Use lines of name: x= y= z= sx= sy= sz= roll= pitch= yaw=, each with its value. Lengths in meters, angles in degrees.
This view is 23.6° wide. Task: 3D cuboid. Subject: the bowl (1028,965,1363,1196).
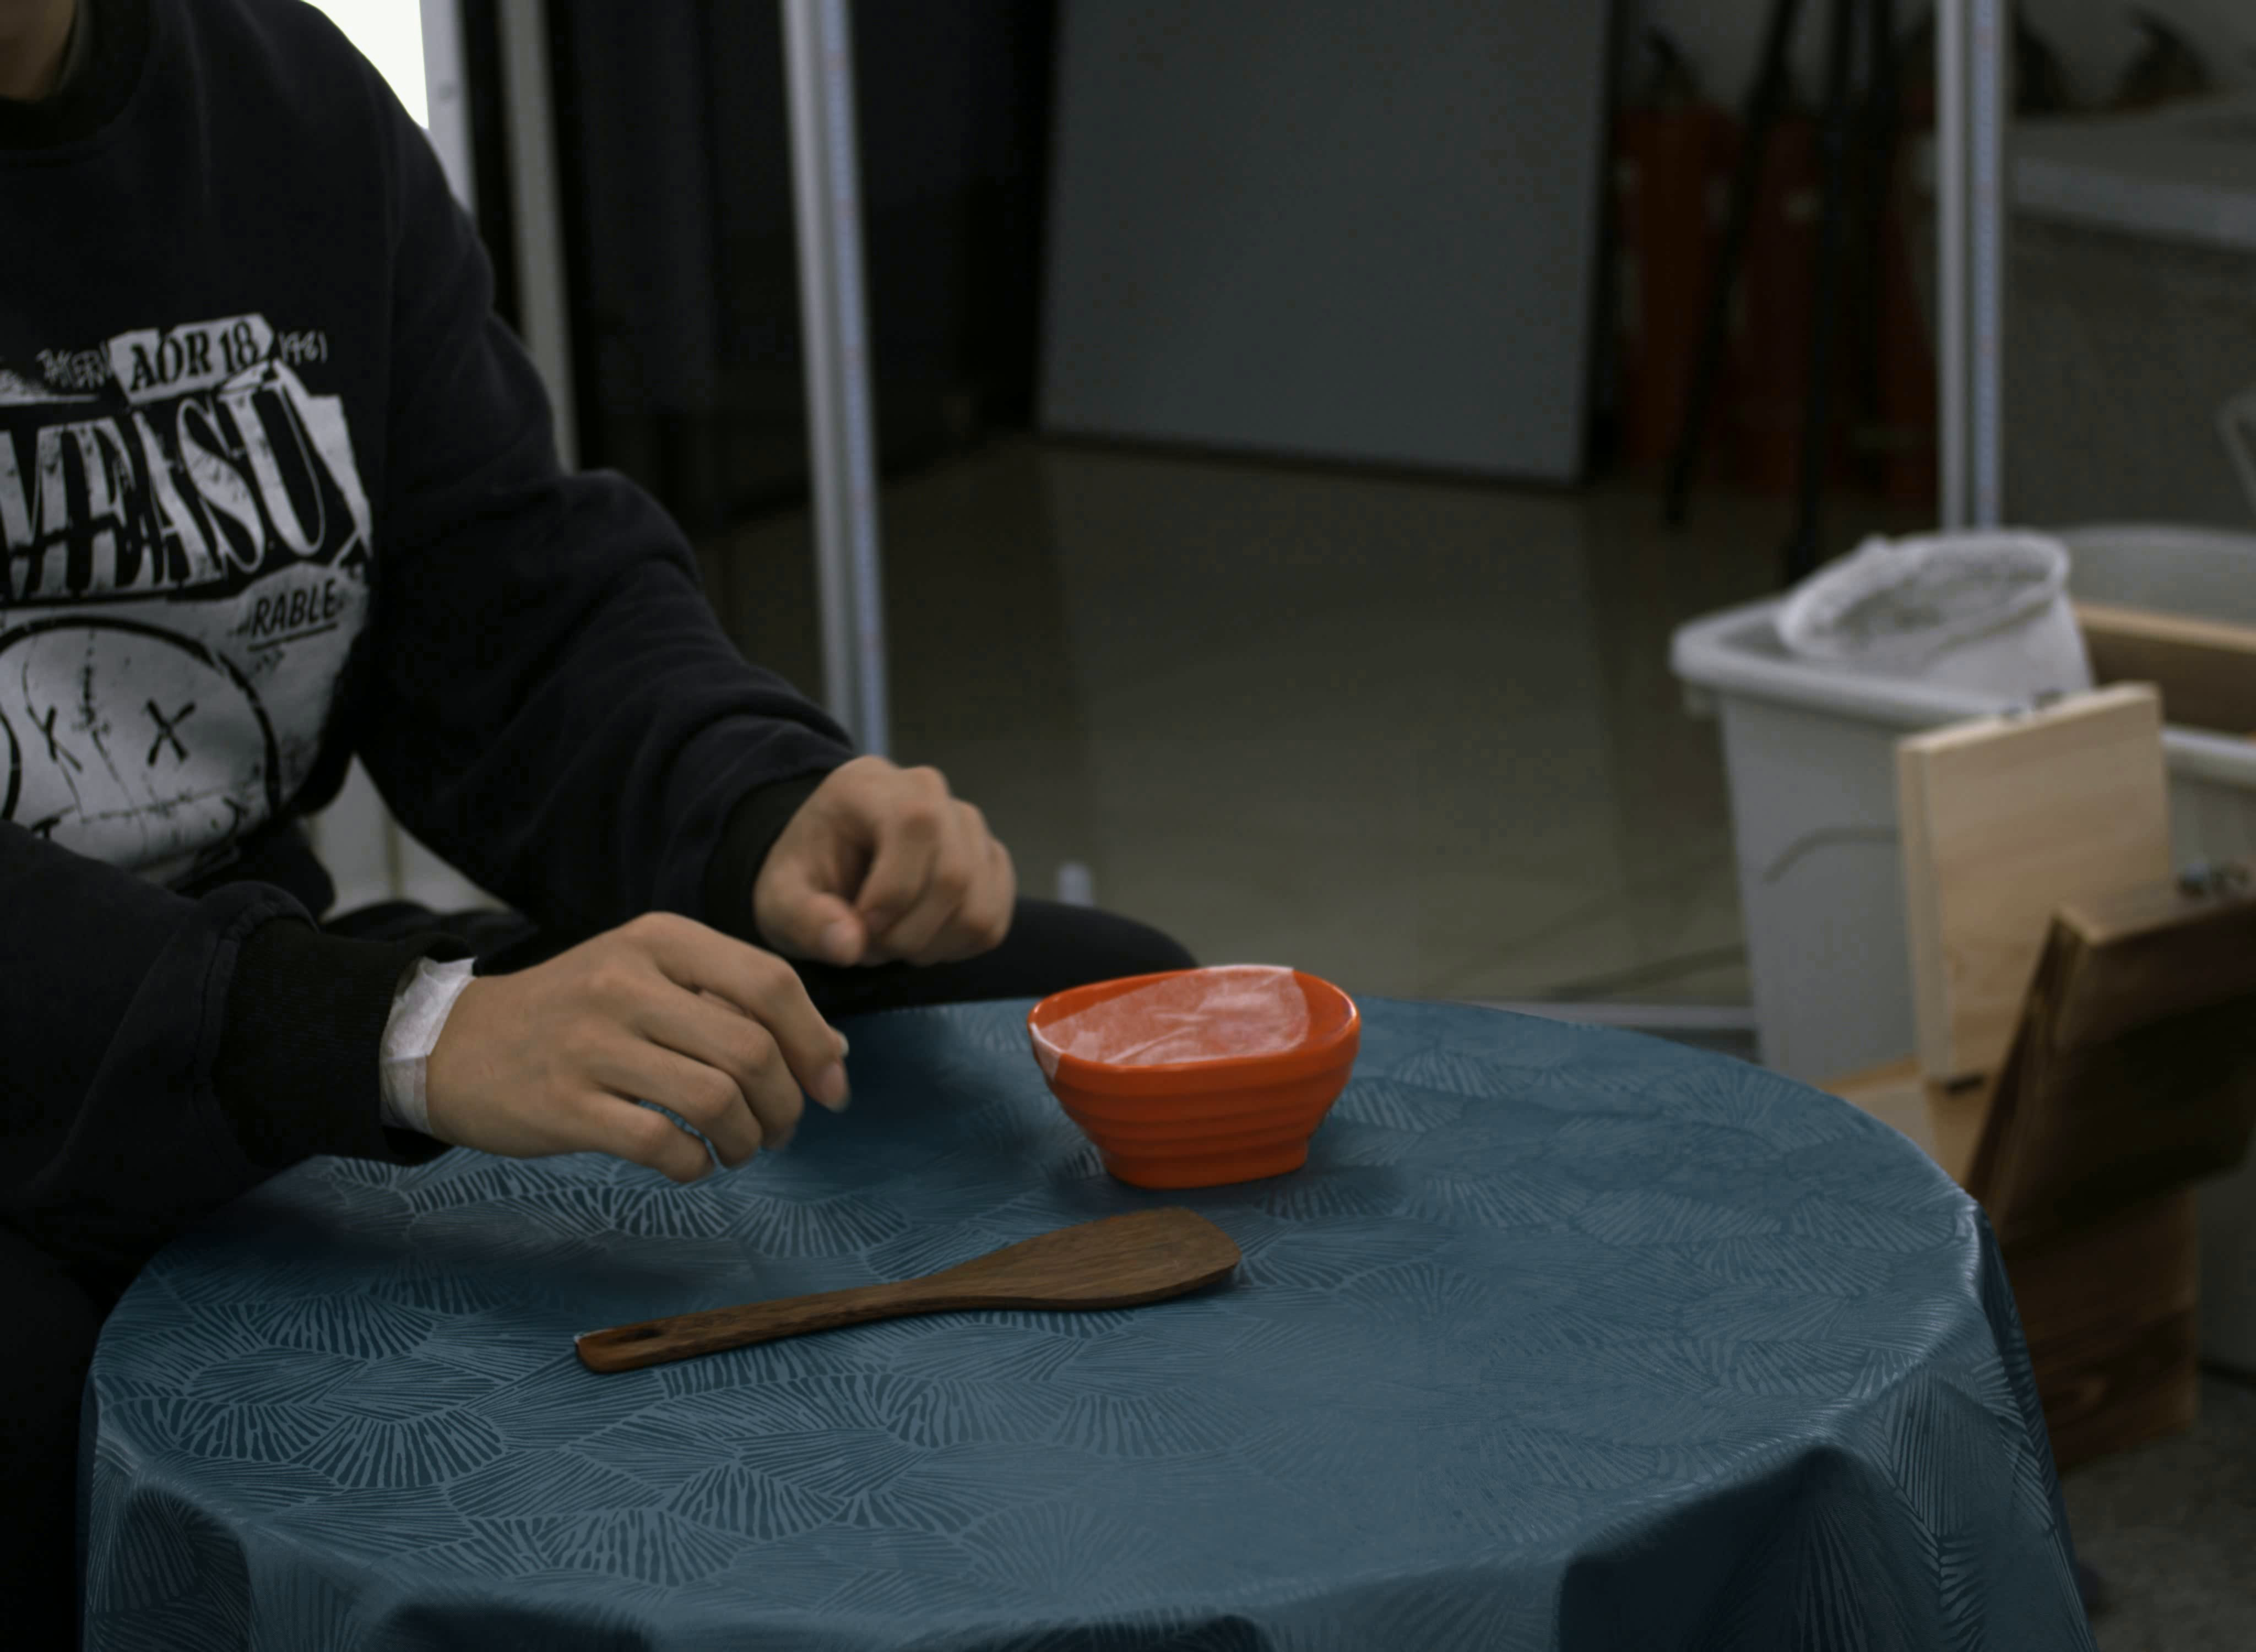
bowl: x=0.023 y=0.087 z=1.796 sx=0.117 sy=0.052 sz=0.119 roll=-3 pitch=16 yaw=0

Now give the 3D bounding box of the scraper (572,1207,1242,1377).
scraper: x=-0.069 y=0.147 z=1.669 sx=0.207 sy=0.011 sz=0.076 roll=-9 pitch=14 yaw=-17
